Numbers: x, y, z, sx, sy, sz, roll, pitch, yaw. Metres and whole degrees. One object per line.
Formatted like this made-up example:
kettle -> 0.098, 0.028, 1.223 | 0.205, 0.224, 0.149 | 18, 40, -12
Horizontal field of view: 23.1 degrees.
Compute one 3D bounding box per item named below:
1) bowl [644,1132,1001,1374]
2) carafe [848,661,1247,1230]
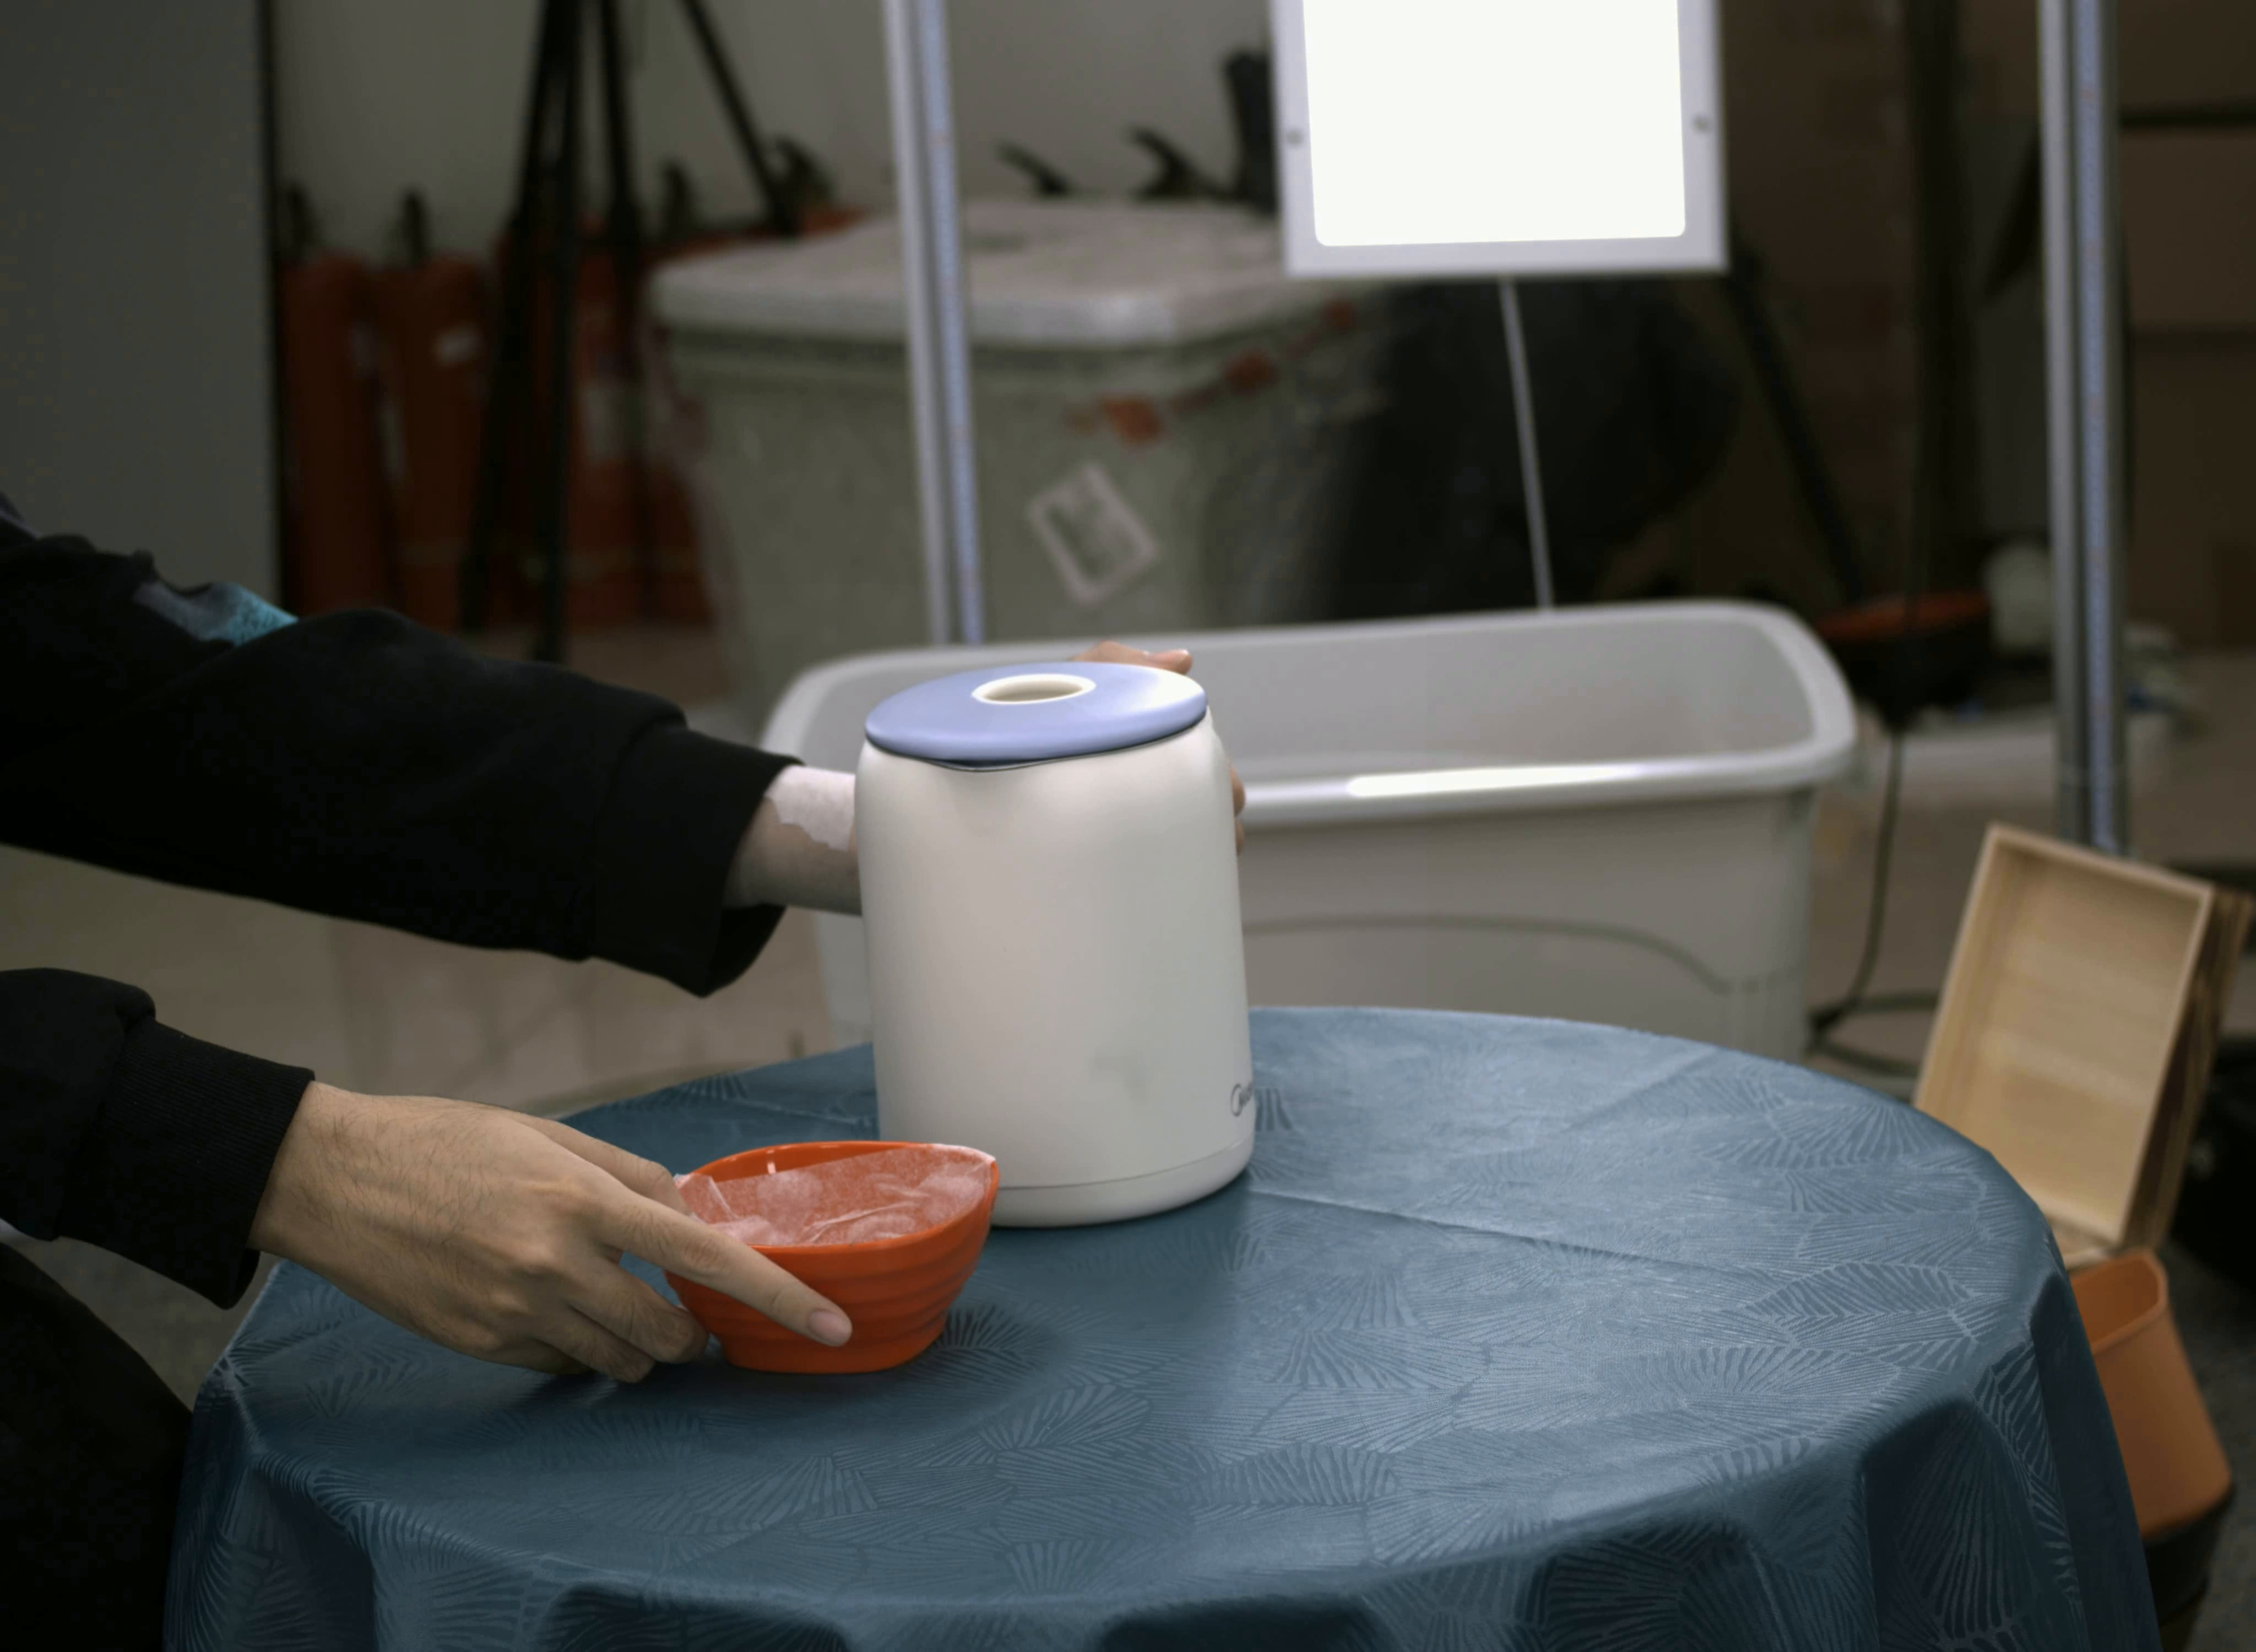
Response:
bowl -> -0.096, 0.139, 1.765 | 0.118, 0.051, 0.119 | -4, 16, 0
carafe -> -0.022, 0.035, 1.920 | 0.133, 0.183, 0.188 | 1, 12, 15
